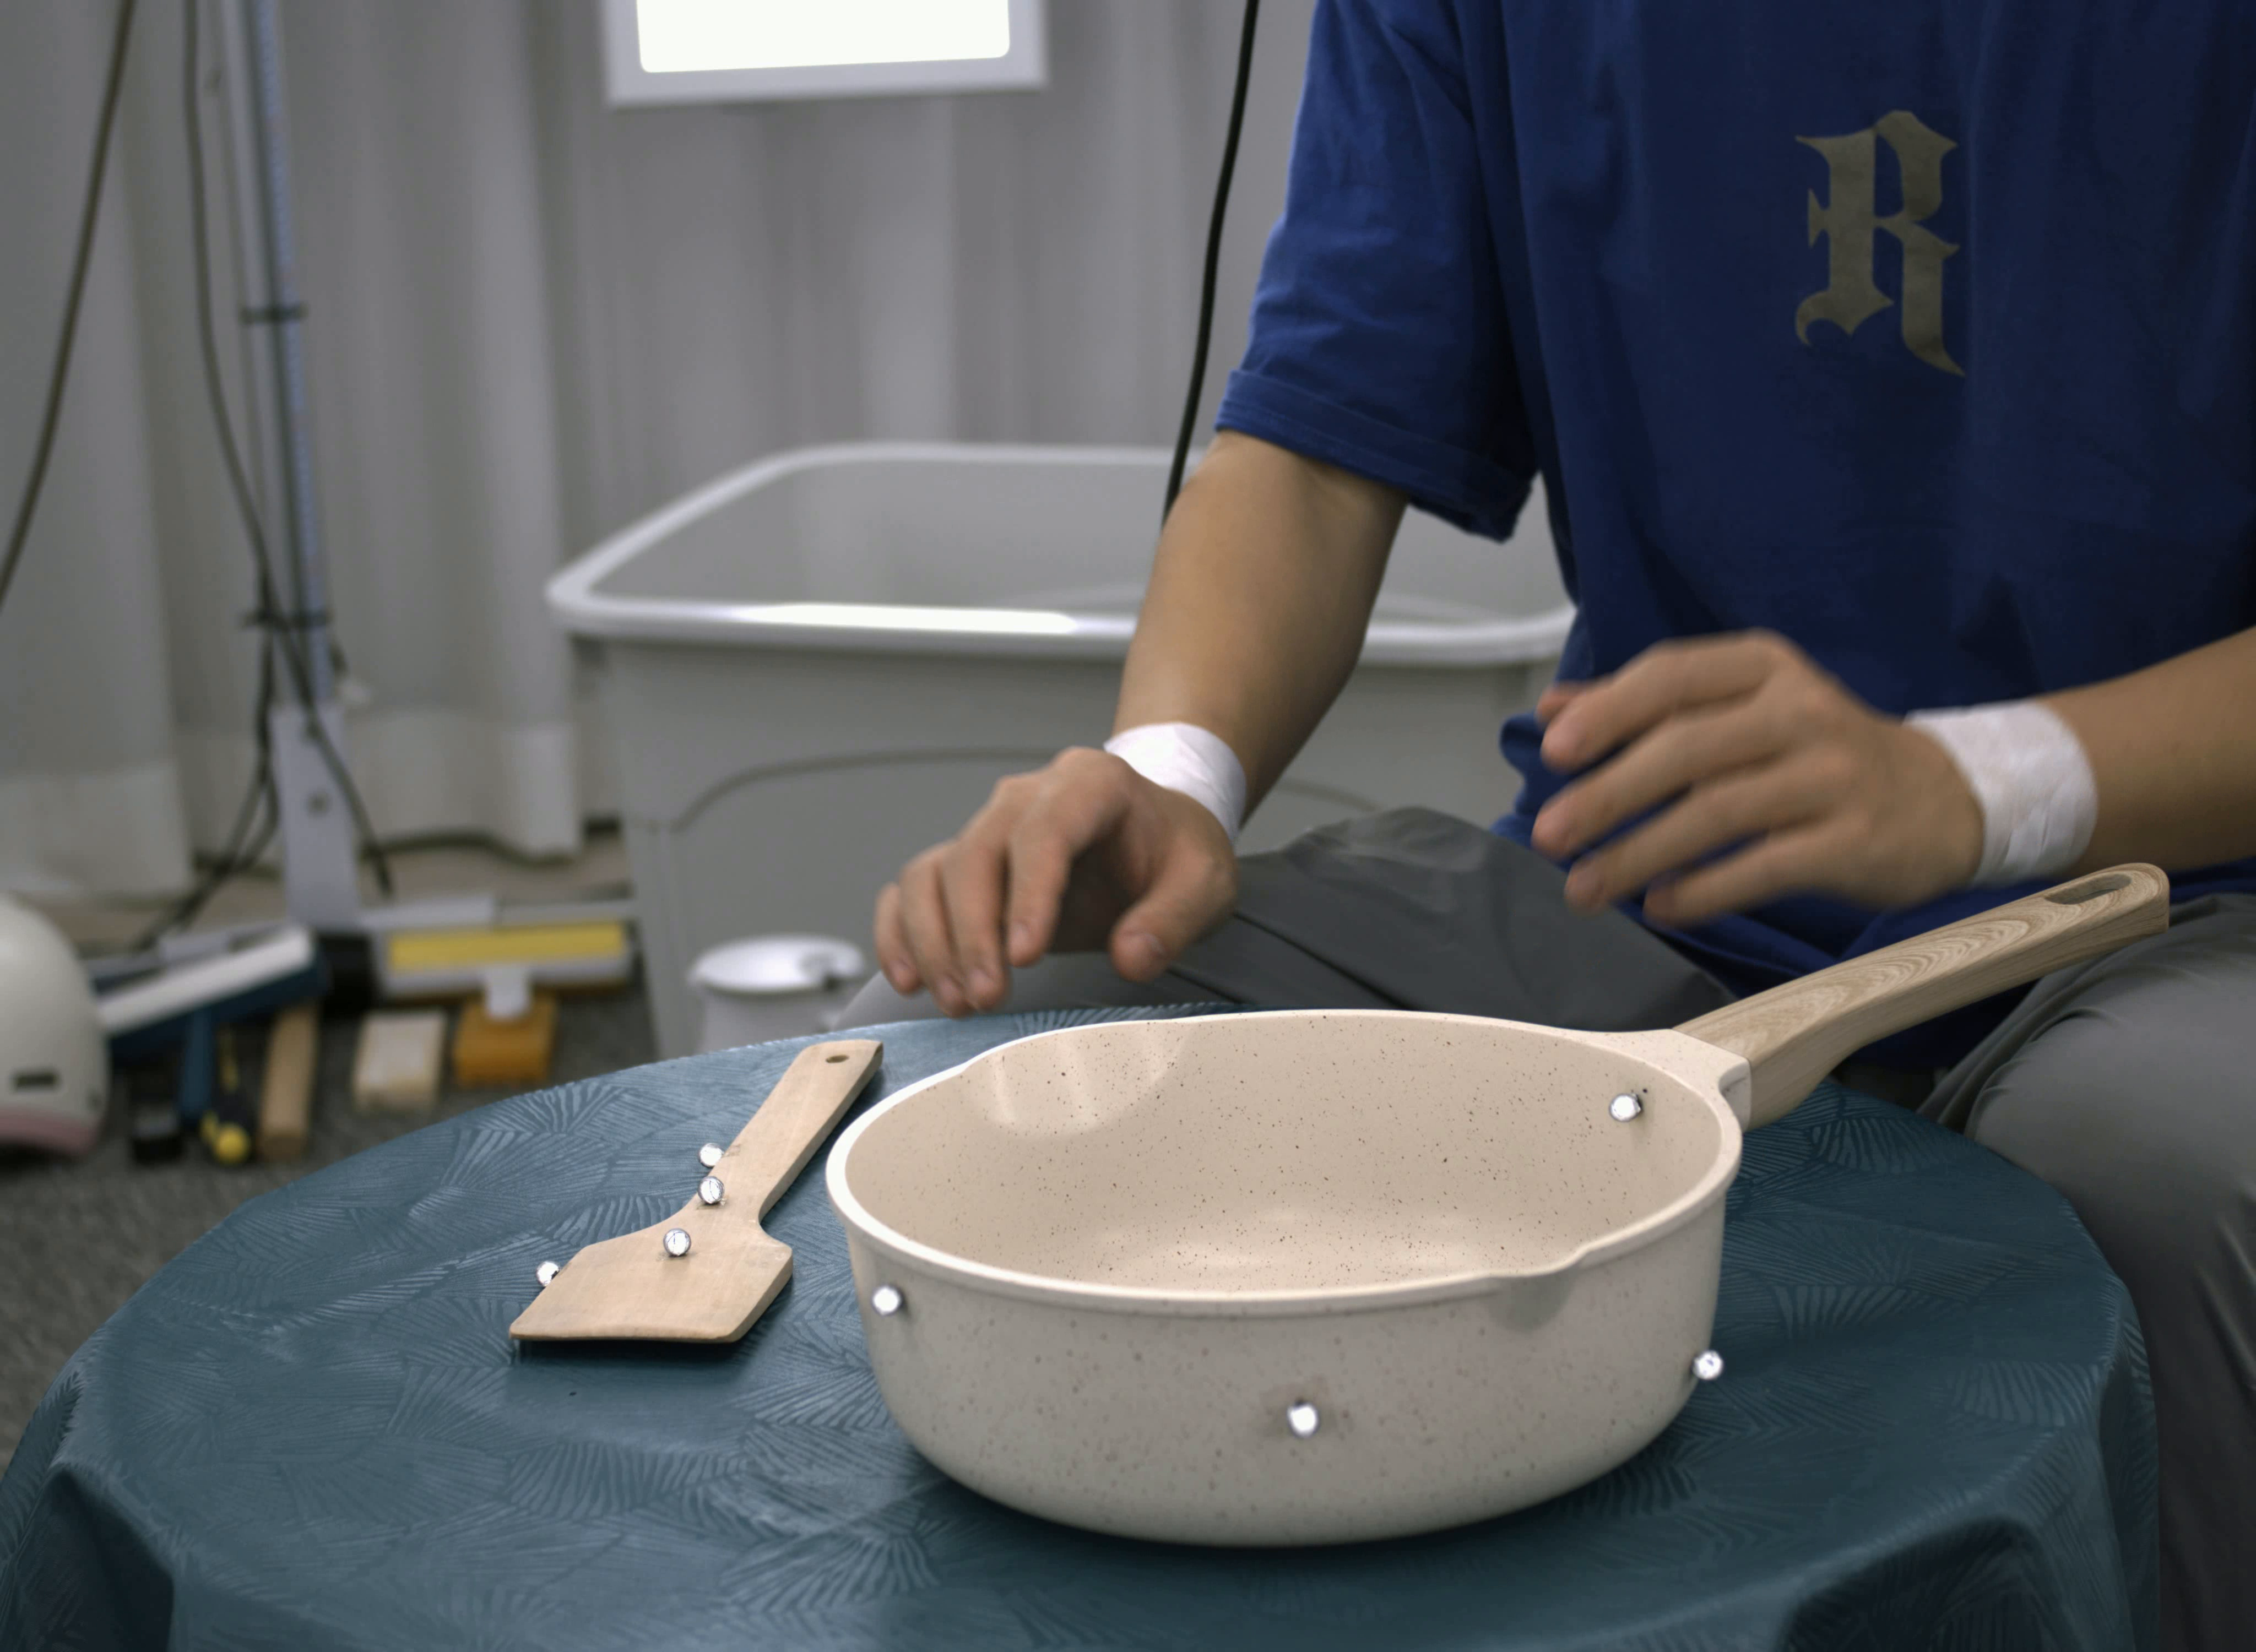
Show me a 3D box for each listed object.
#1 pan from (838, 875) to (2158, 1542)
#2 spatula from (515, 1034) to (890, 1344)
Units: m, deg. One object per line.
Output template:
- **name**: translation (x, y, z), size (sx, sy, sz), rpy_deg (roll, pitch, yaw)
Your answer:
- **pan**: translation (0.125, 0.102, 1.541), size (0.433, 0.101, 0.265), rpy_deg (-11, 15, -30)
- **spatula**: translation (-0.121, 0.112, 1.724), size (0.072, 0.010, 0.294), rpy_deg (-1, 15, 11)
